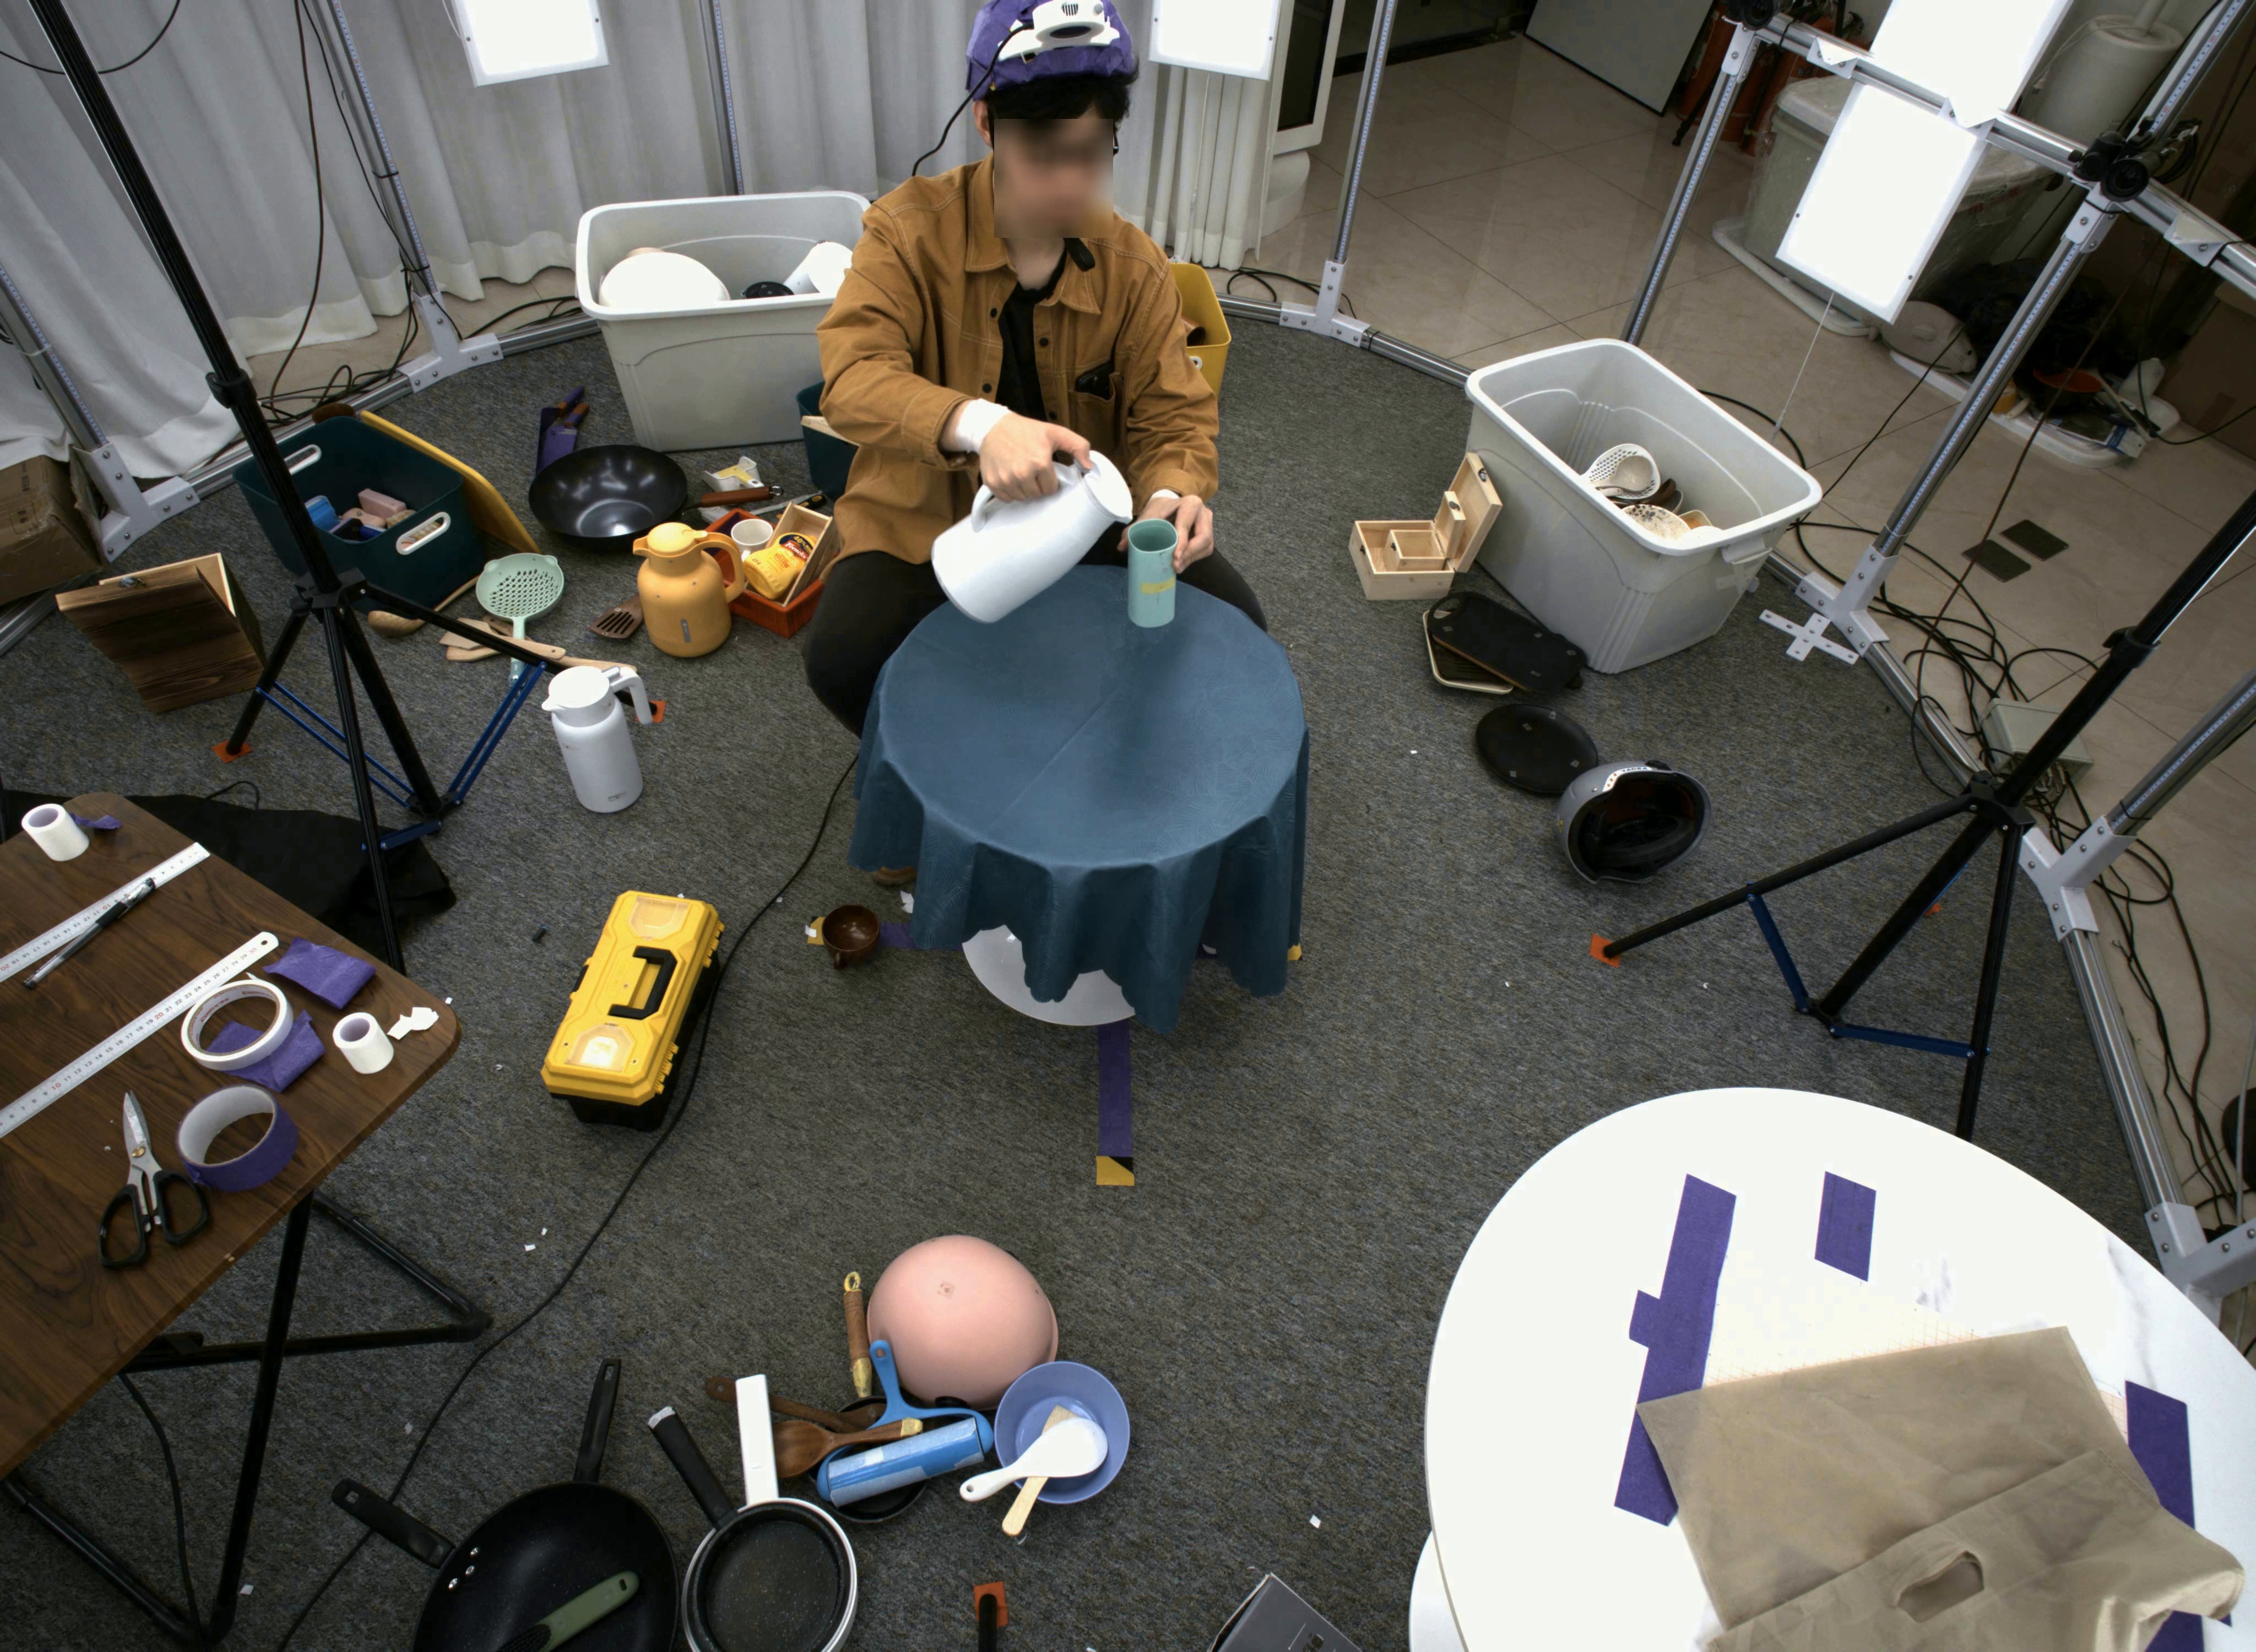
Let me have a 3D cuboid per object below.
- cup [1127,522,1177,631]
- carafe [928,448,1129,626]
[{"bbox_3d":[0.030,-0.321,1.658,0.067,0.129,0.068,0,52,0],"label":"cup"},{"bbox_3d":[-0.128,-0.369,1.583,0.165,0.247,0.135,26,47,-43],"label":"carafe"}]
